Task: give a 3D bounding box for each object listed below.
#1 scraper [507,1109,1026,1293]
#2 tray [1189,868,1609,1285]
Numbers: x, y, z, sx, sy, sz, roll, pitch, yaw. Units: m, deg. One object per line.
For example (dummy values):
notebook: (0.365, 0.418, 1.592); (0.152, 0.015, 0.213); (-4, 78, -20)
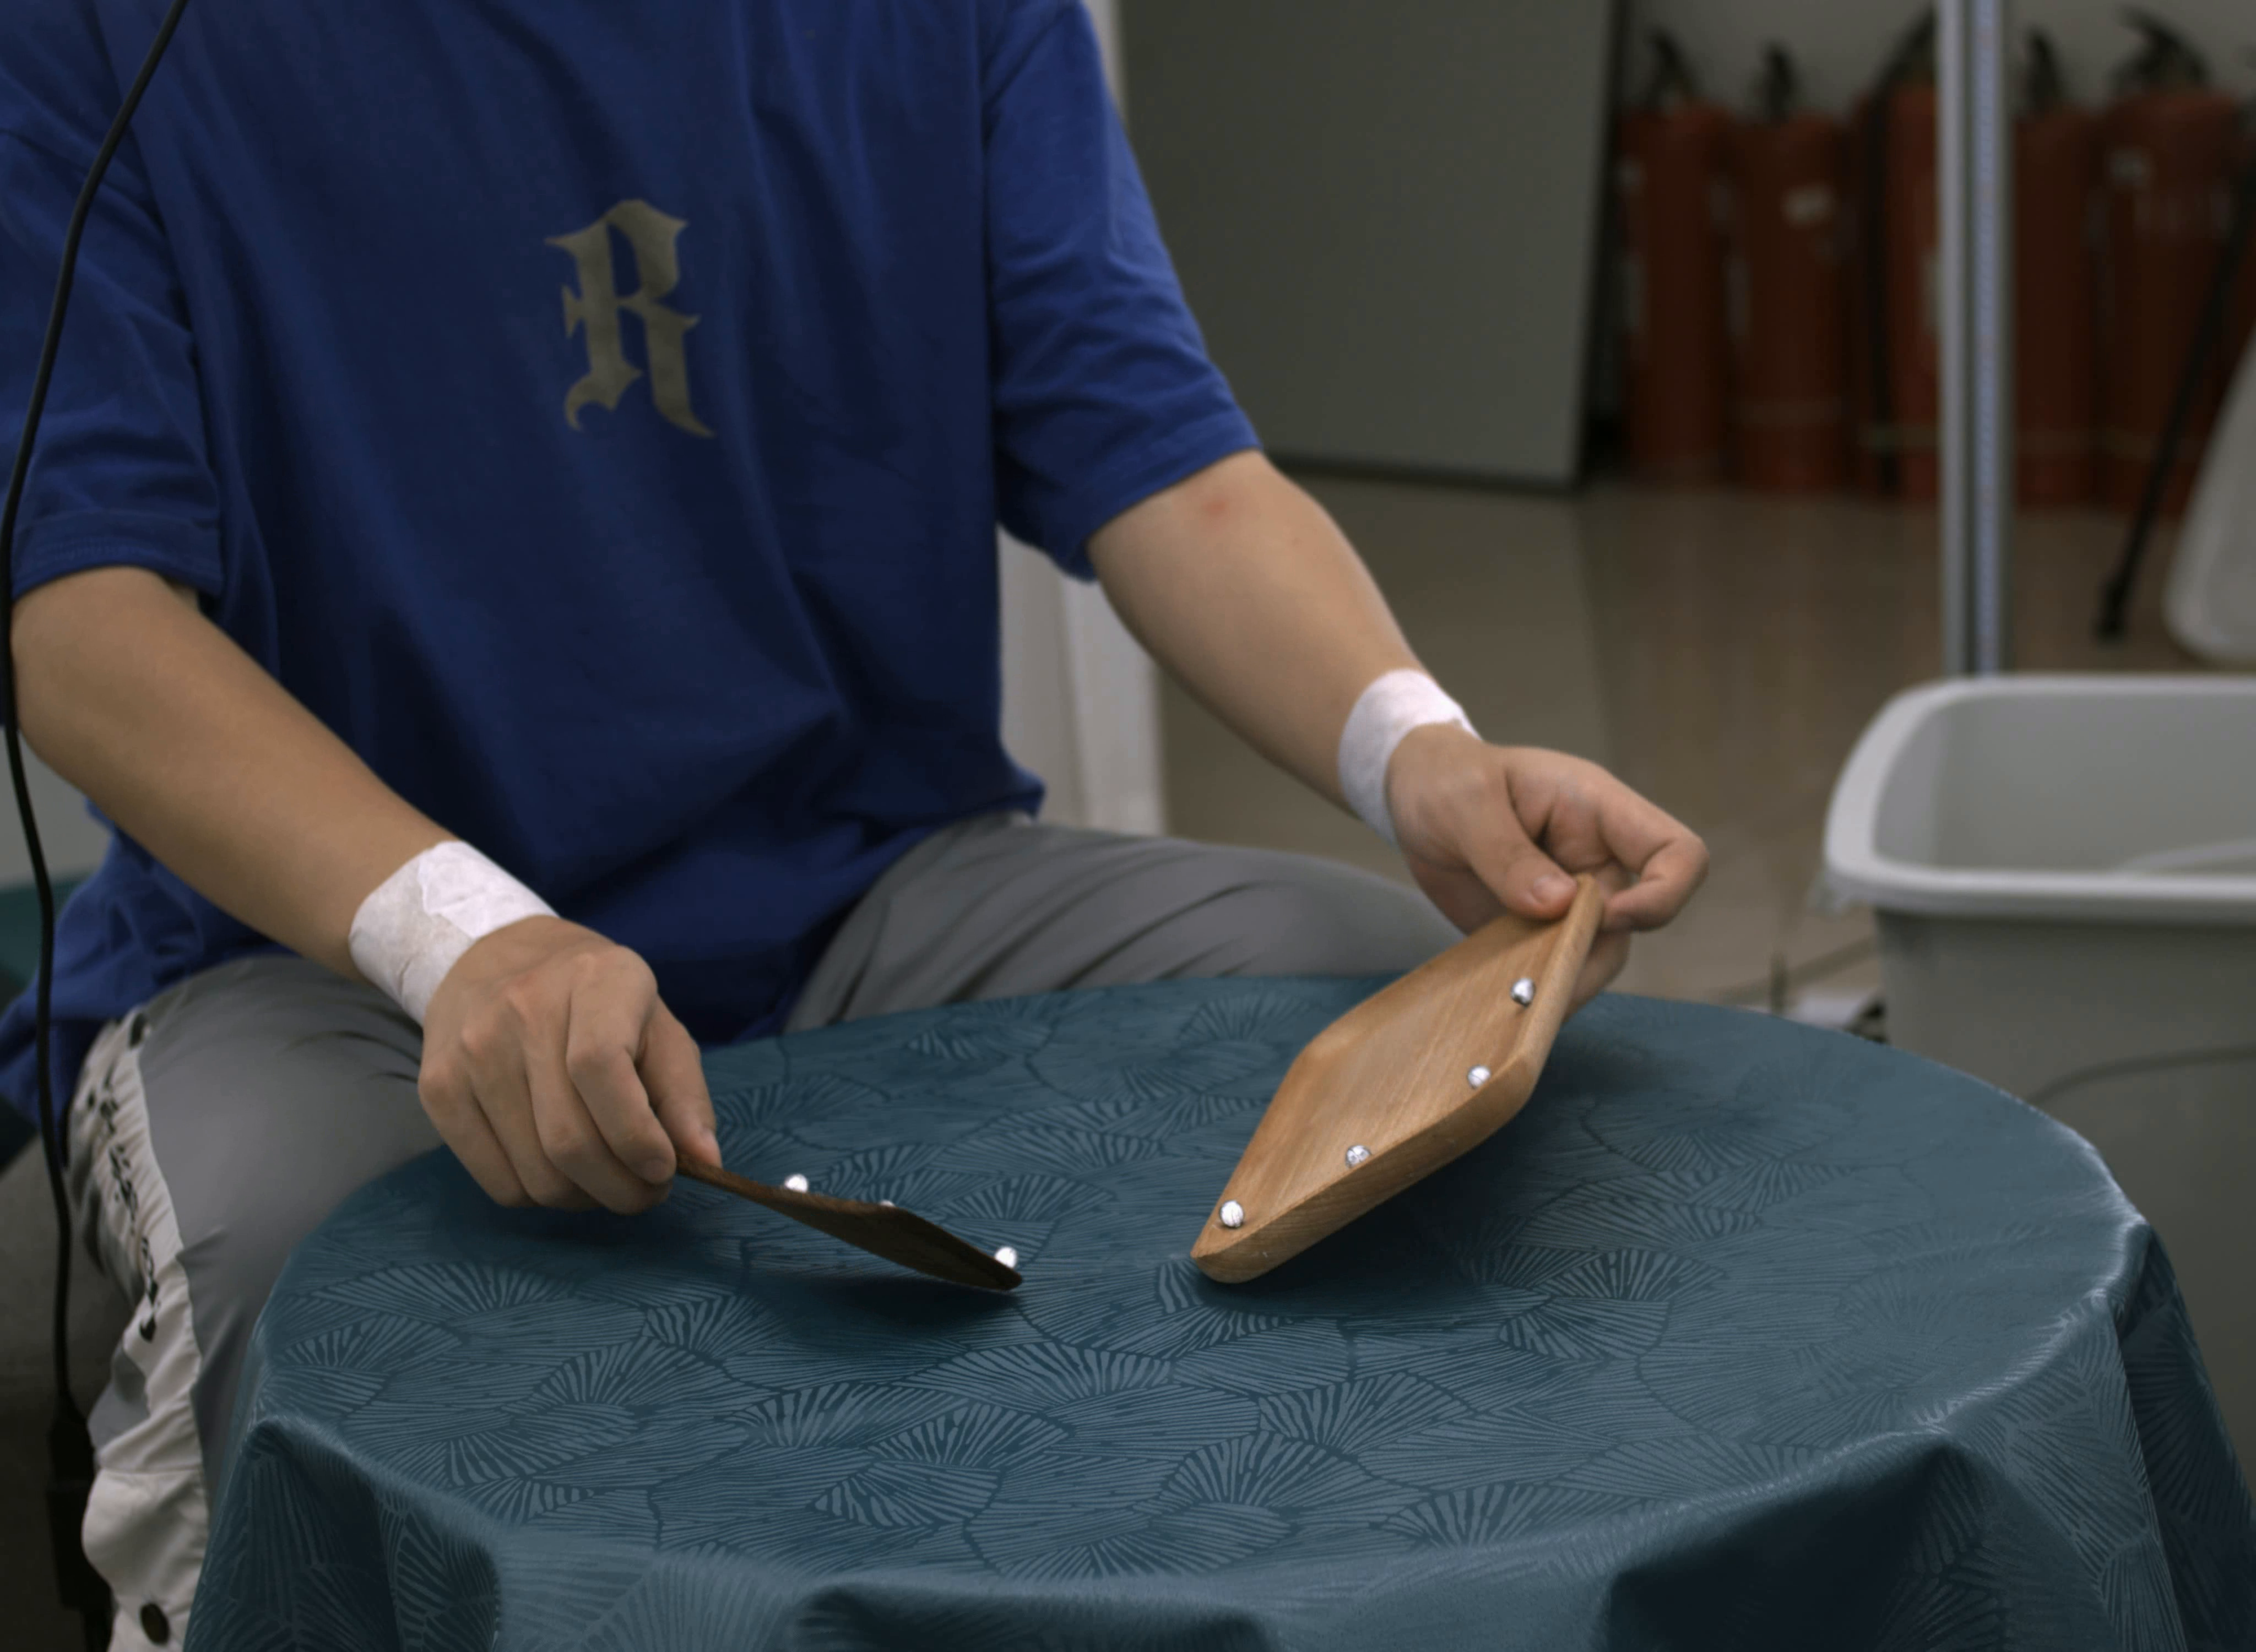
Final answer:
scraper: (-0.123, 0.116, 1.716); (0.213, 0.011, 0.074); (13, -14, 43)
tray: (0.093, 0.080, 1.754); (0.131, 0.023, 0.249); (-31, 6, 19)
